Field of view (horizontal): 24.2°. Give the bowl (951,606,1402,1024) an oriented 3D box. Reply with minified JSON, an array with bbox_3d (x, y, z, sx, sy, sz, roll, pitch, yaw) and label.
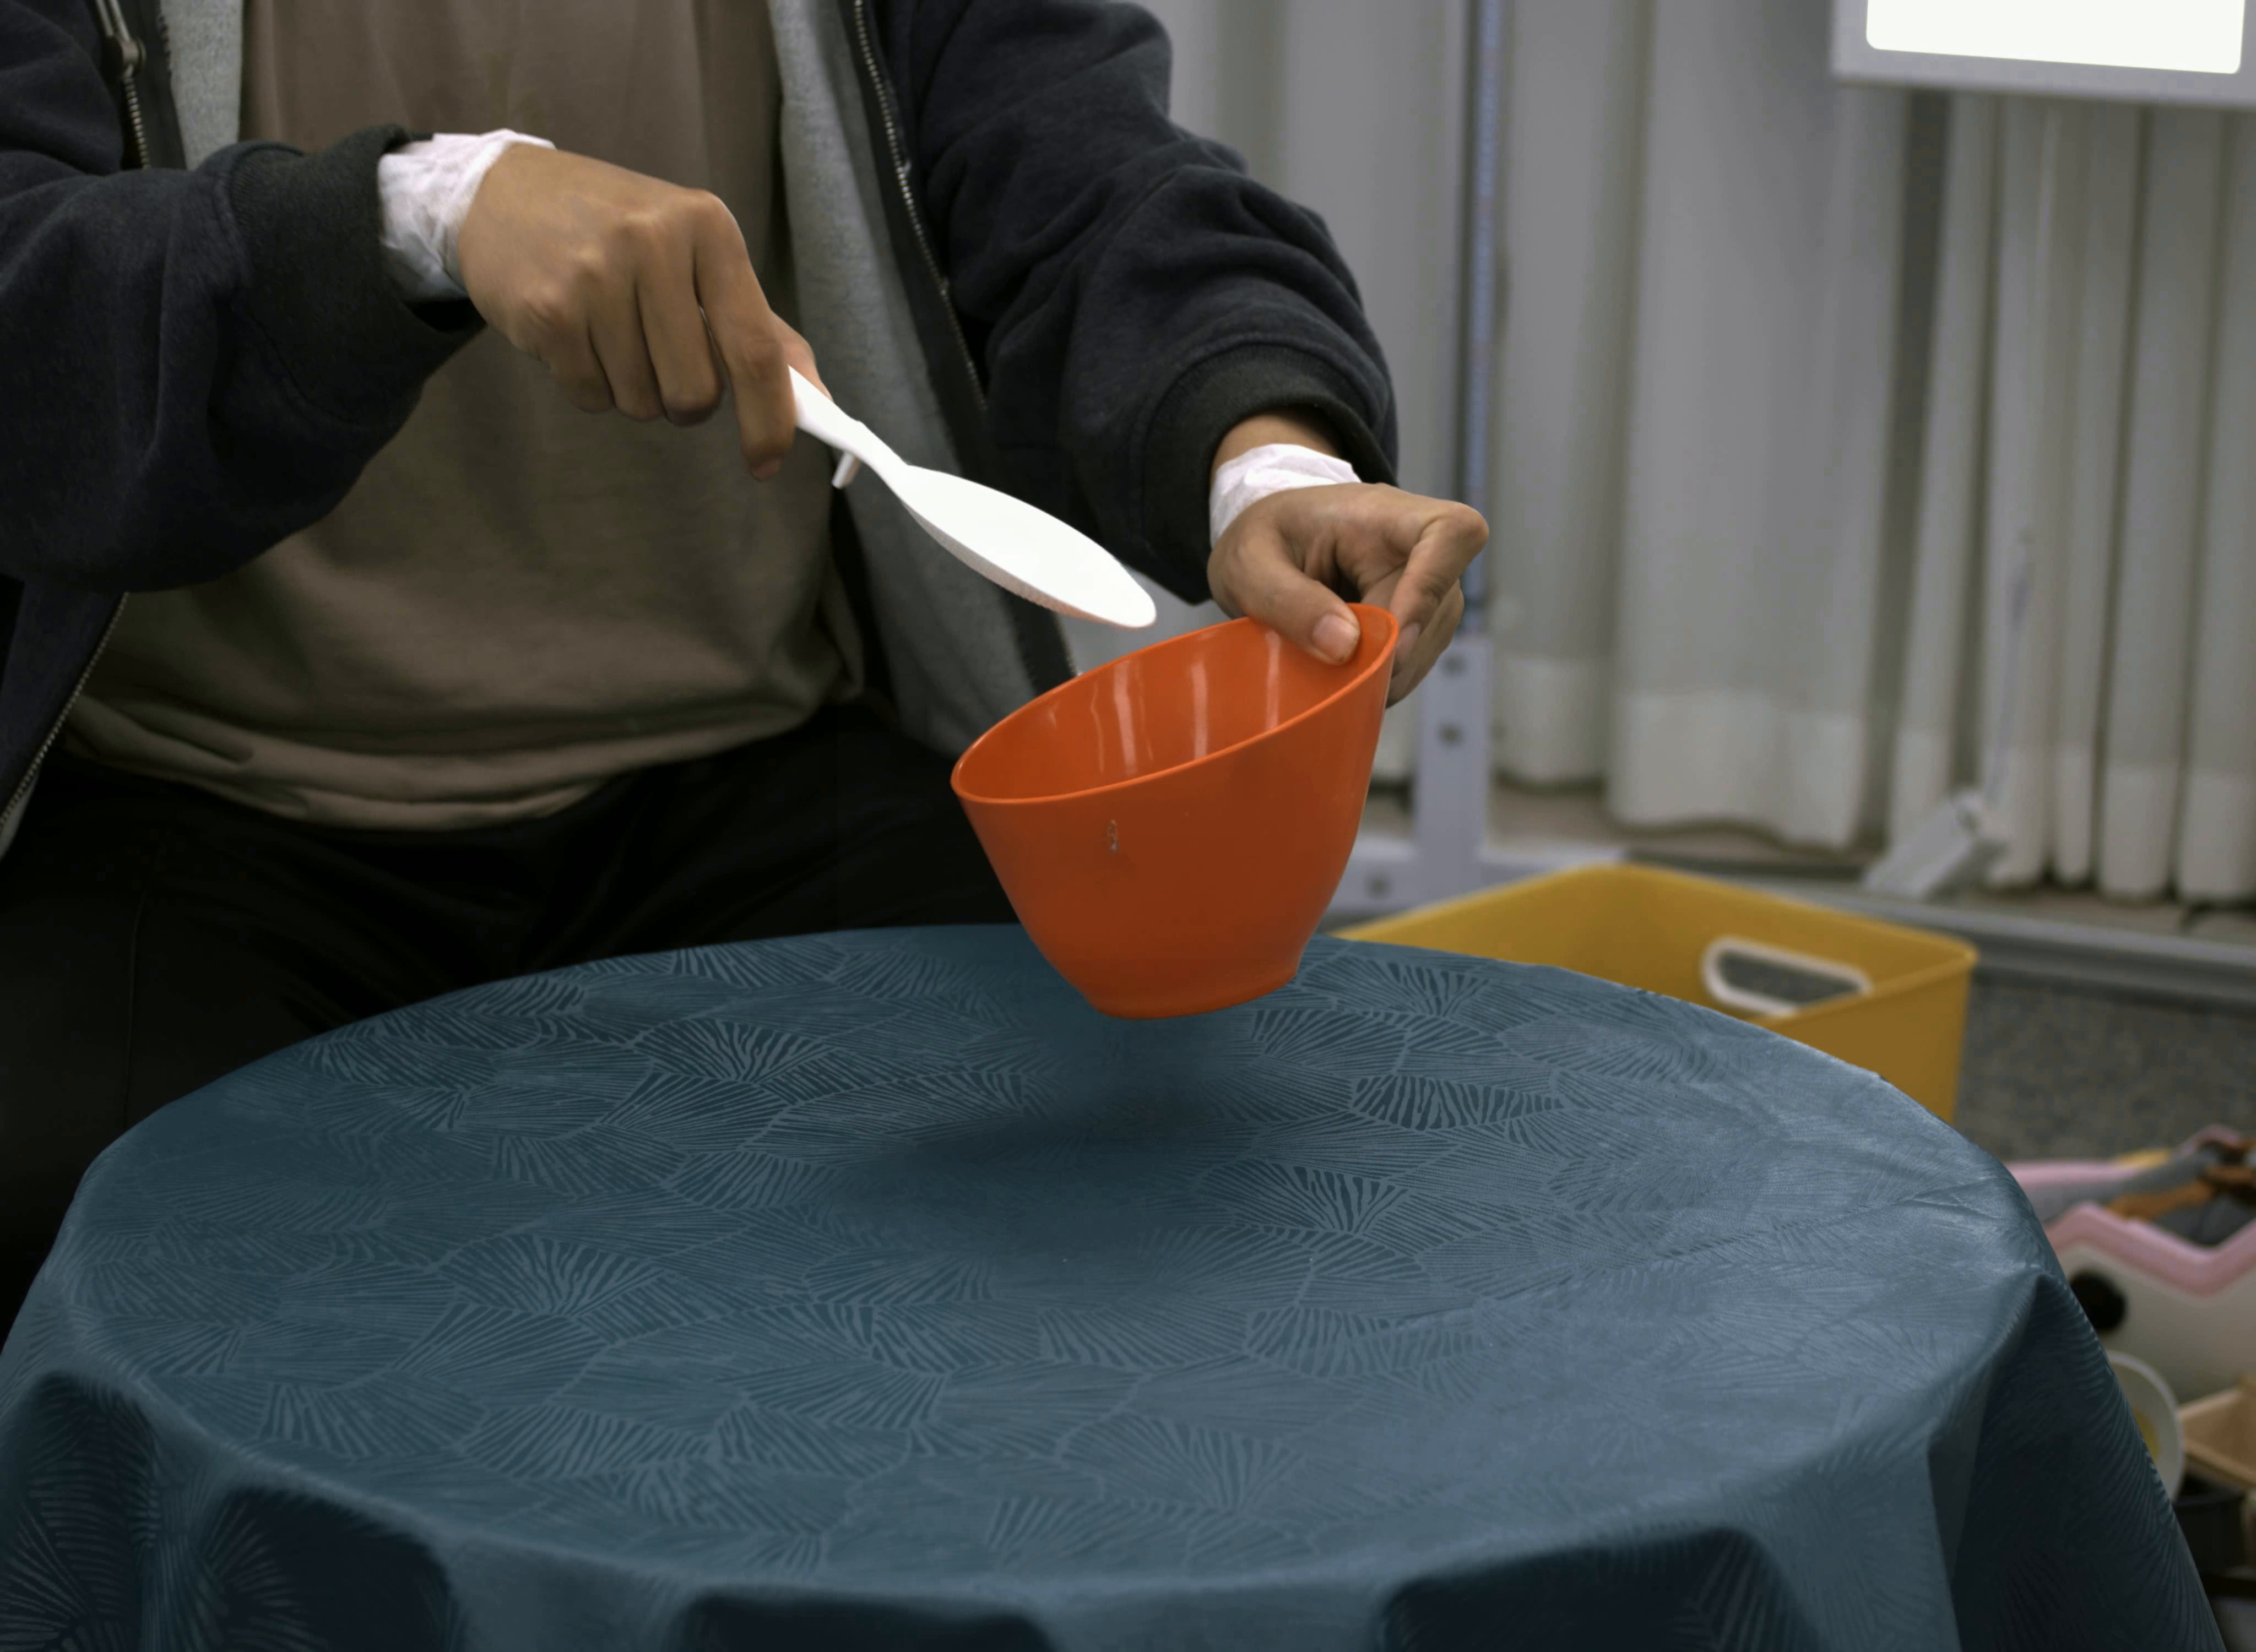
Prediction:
[{"bbox_3d":[0.022,0.000,1.659,0.147,0.105,0.147,-9,15,3],"label":"bowl"}]

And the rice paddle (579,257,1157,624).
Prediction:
[{"bbox_3d":[-0.079,-0.118,1.661,0.204,0.029,0.069,30,22,5],"label":"rice paddle"}]
